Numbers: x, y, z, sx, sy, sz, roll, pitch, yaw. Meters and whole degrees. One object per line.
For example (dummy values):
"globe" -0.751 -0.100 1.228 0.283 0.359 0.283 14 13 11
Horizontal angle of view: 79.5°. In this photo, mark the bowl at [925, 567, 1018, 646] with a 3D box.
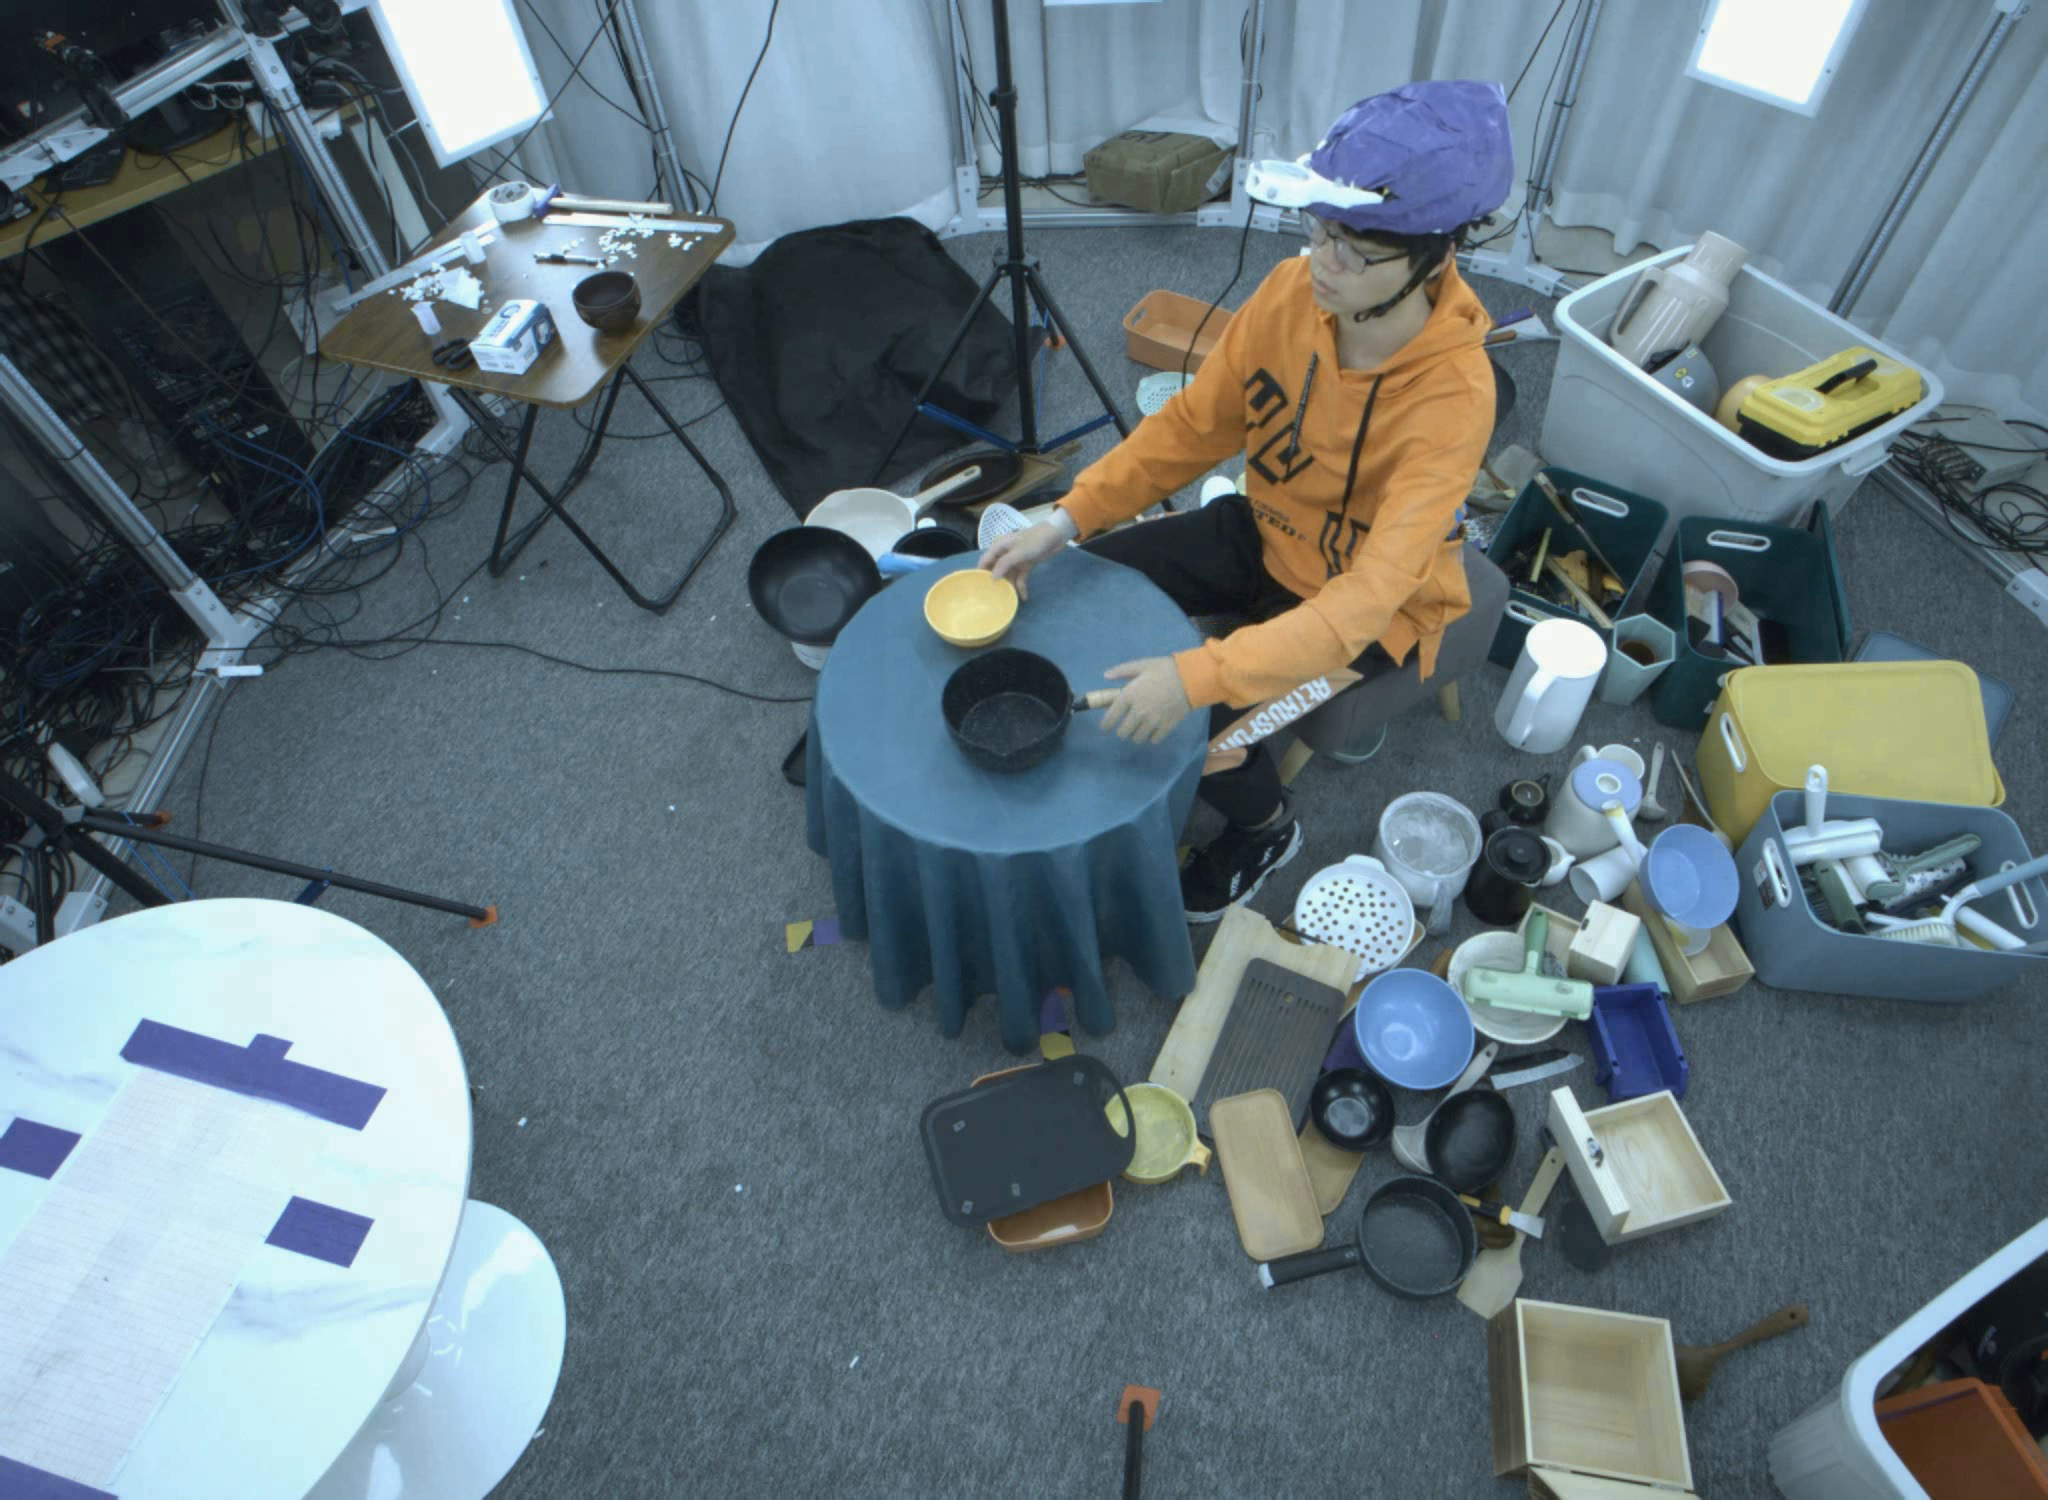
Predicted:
"bowl" -0.080 -0.211 1.903 0.145 0.061 0.144 0 56 2

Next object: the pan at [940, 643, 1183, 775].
"pan" 0.054 -0.061 1.762 0.342 0.109 0.205 -3 53 2
